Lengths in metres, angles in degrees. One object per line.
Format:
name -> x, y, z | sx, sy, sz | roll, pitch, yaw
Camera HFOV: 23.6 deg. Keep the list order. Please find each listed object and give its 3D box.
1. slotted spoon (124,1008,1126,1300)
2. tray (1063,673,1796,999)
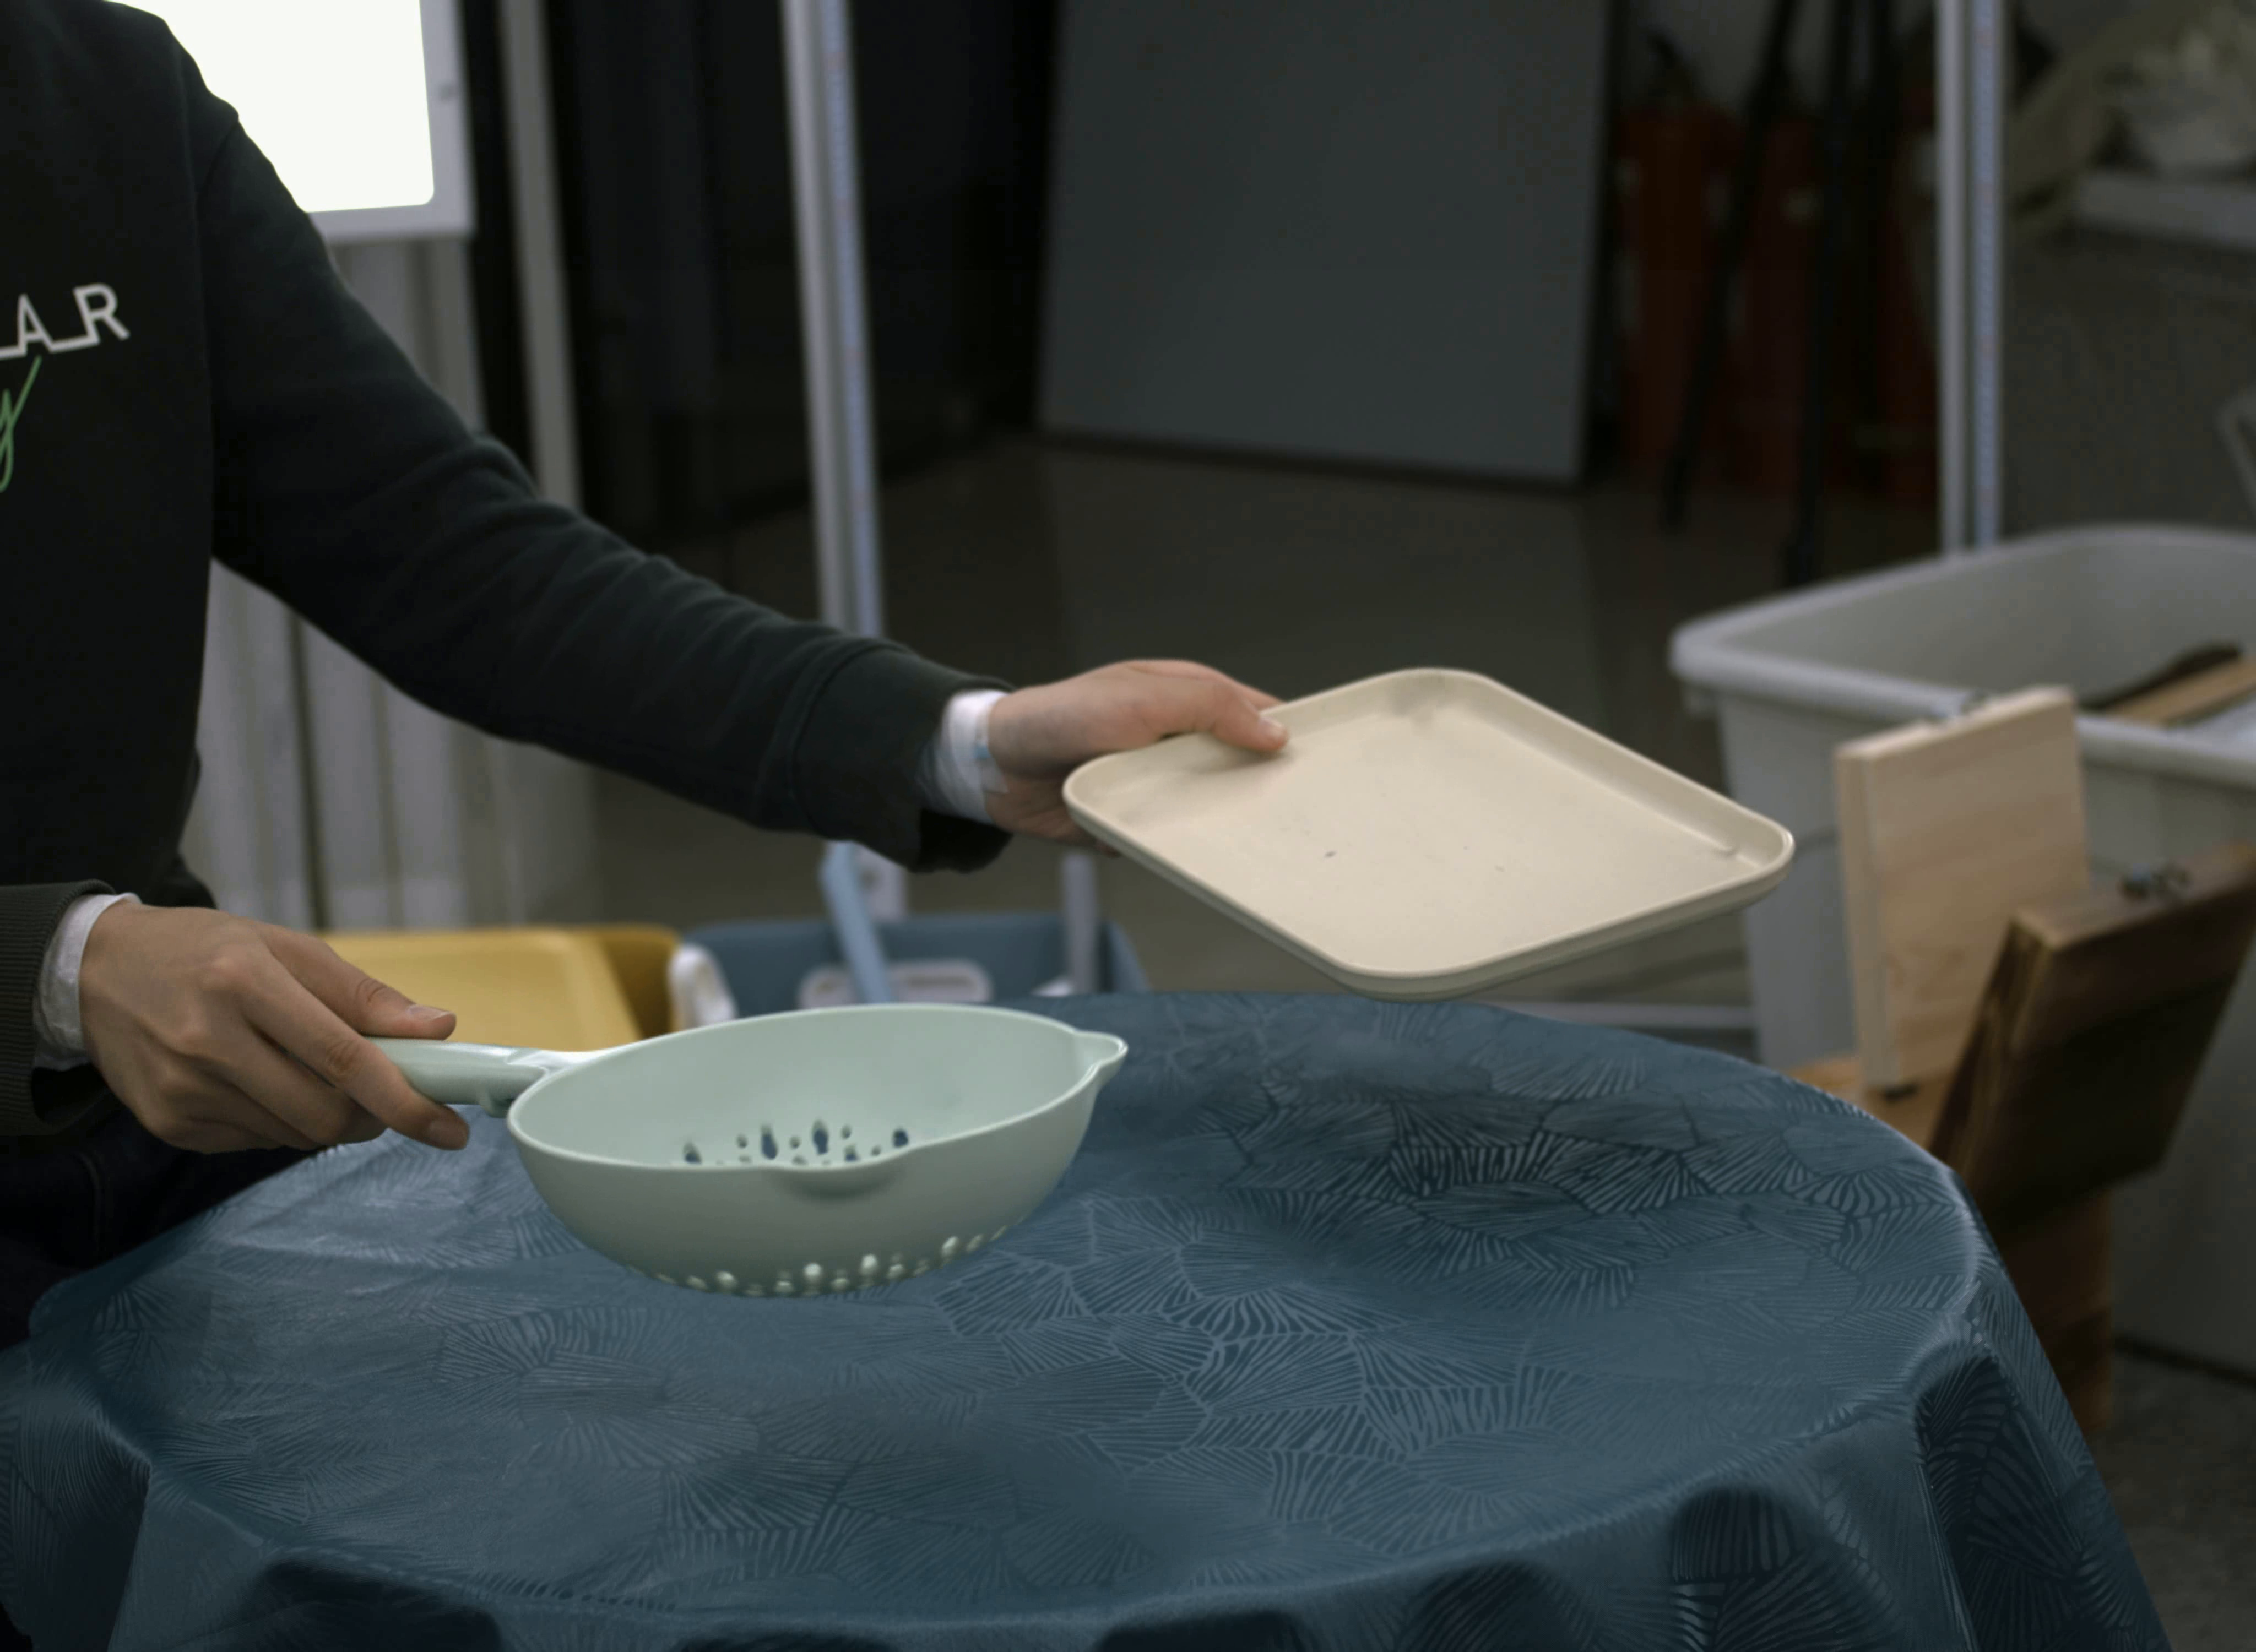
slotted spoon -> -0.168, 0.081, 1.584 | 0.361, 0.076, 0.166 | 12, 17, 36
tray -> 0.097, 0.002, 1.784 | 0.168, 0.017, 0.242 | -17, 23, -24
